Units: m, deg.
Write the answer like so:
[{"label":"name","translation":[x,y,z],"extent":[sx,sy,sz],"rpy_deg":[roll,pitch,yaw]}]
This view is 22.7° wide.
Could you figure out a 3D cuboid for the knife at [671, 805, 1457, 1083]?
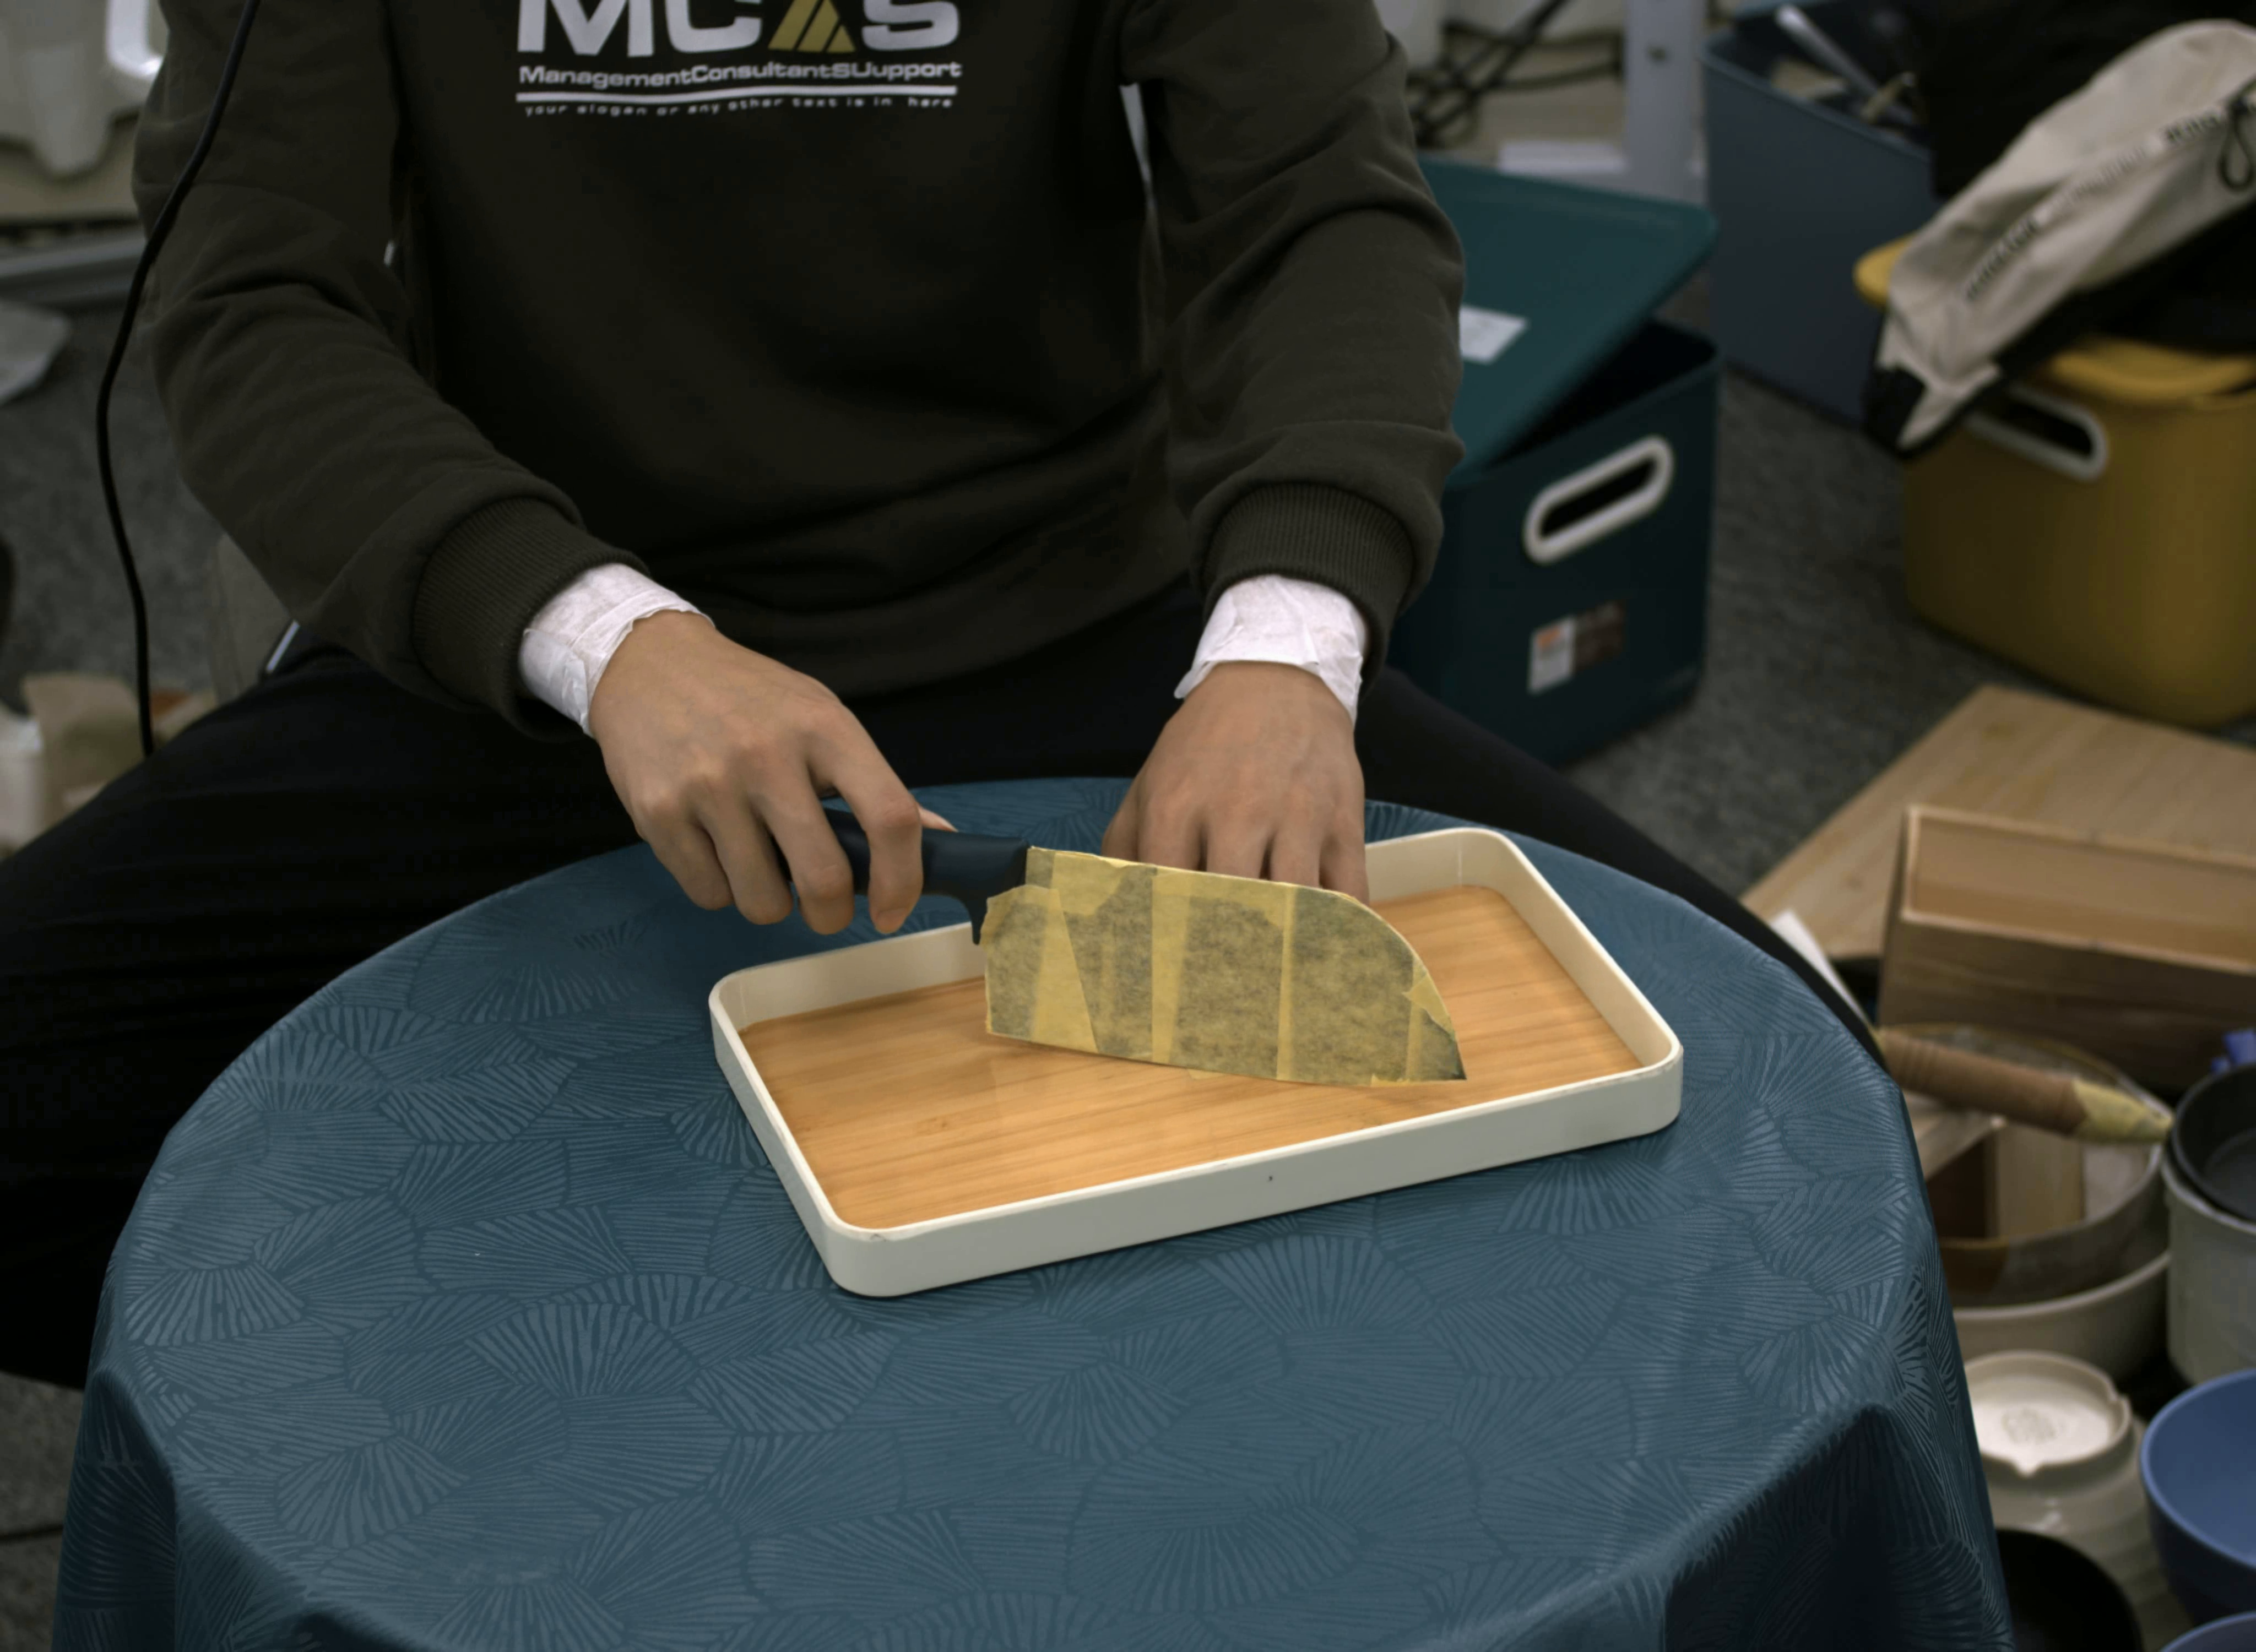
[{"label":"knife","translation":[-0.024,0.040,1.922],"extent":[0.288,0.080,0.027],"rpy_deg":[12,18,17]}]

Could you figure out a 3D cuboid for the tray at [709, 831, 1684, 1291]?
[{"label":"tray","translation":[0.021,0.077,1.918],"extent":[0.300,0.027,0.193],"rpy_deg":[-10,27,-15]}]
